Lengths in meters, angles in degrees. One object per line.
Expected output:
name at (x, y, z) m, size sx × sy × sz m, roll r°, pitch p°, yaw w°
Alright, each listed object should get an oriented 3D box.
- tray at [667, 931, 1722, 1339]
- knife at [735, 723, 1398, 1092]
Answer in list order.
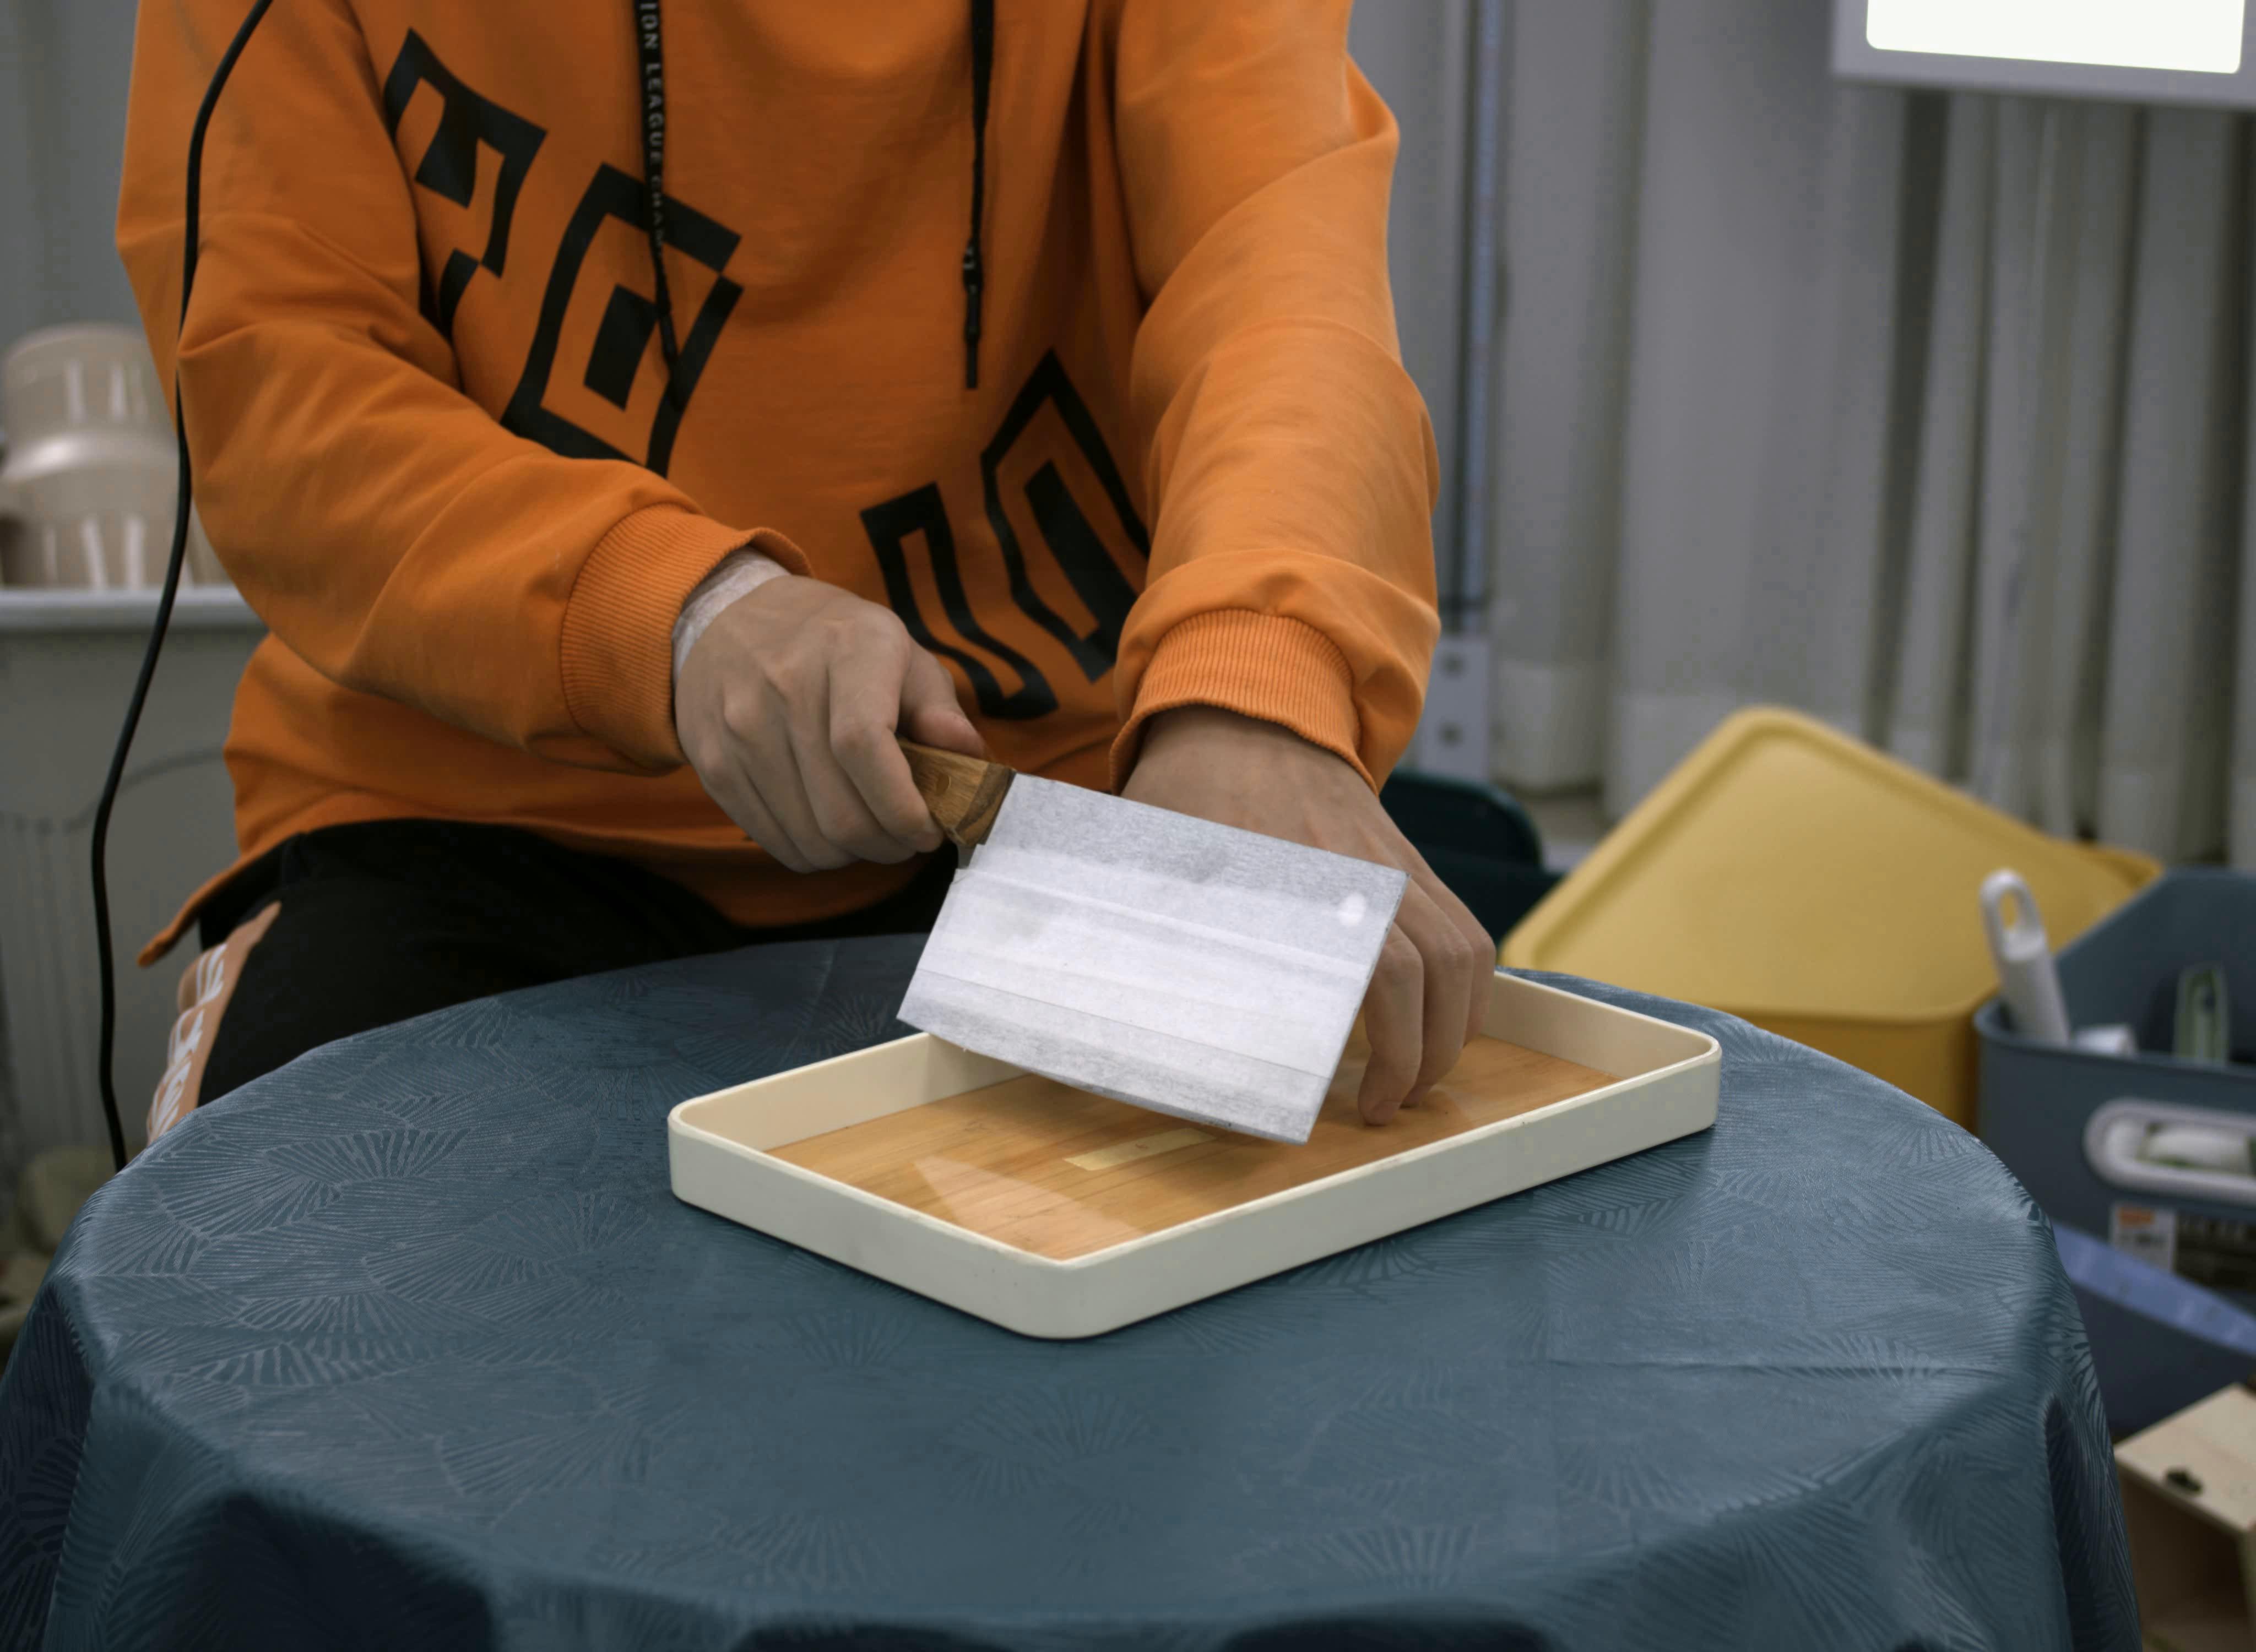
tray at (0.024, 0.091, 1.649) m, size 0.302 × 0.027 × 0.189 m, roll -14°, pitch 22°, yaw -42°
knife at (-0.033, 0.026, 1.677) m, size 0.302 × 0.093 × 0.021 m, roll 14°, pitch -9°, yaw 46°
